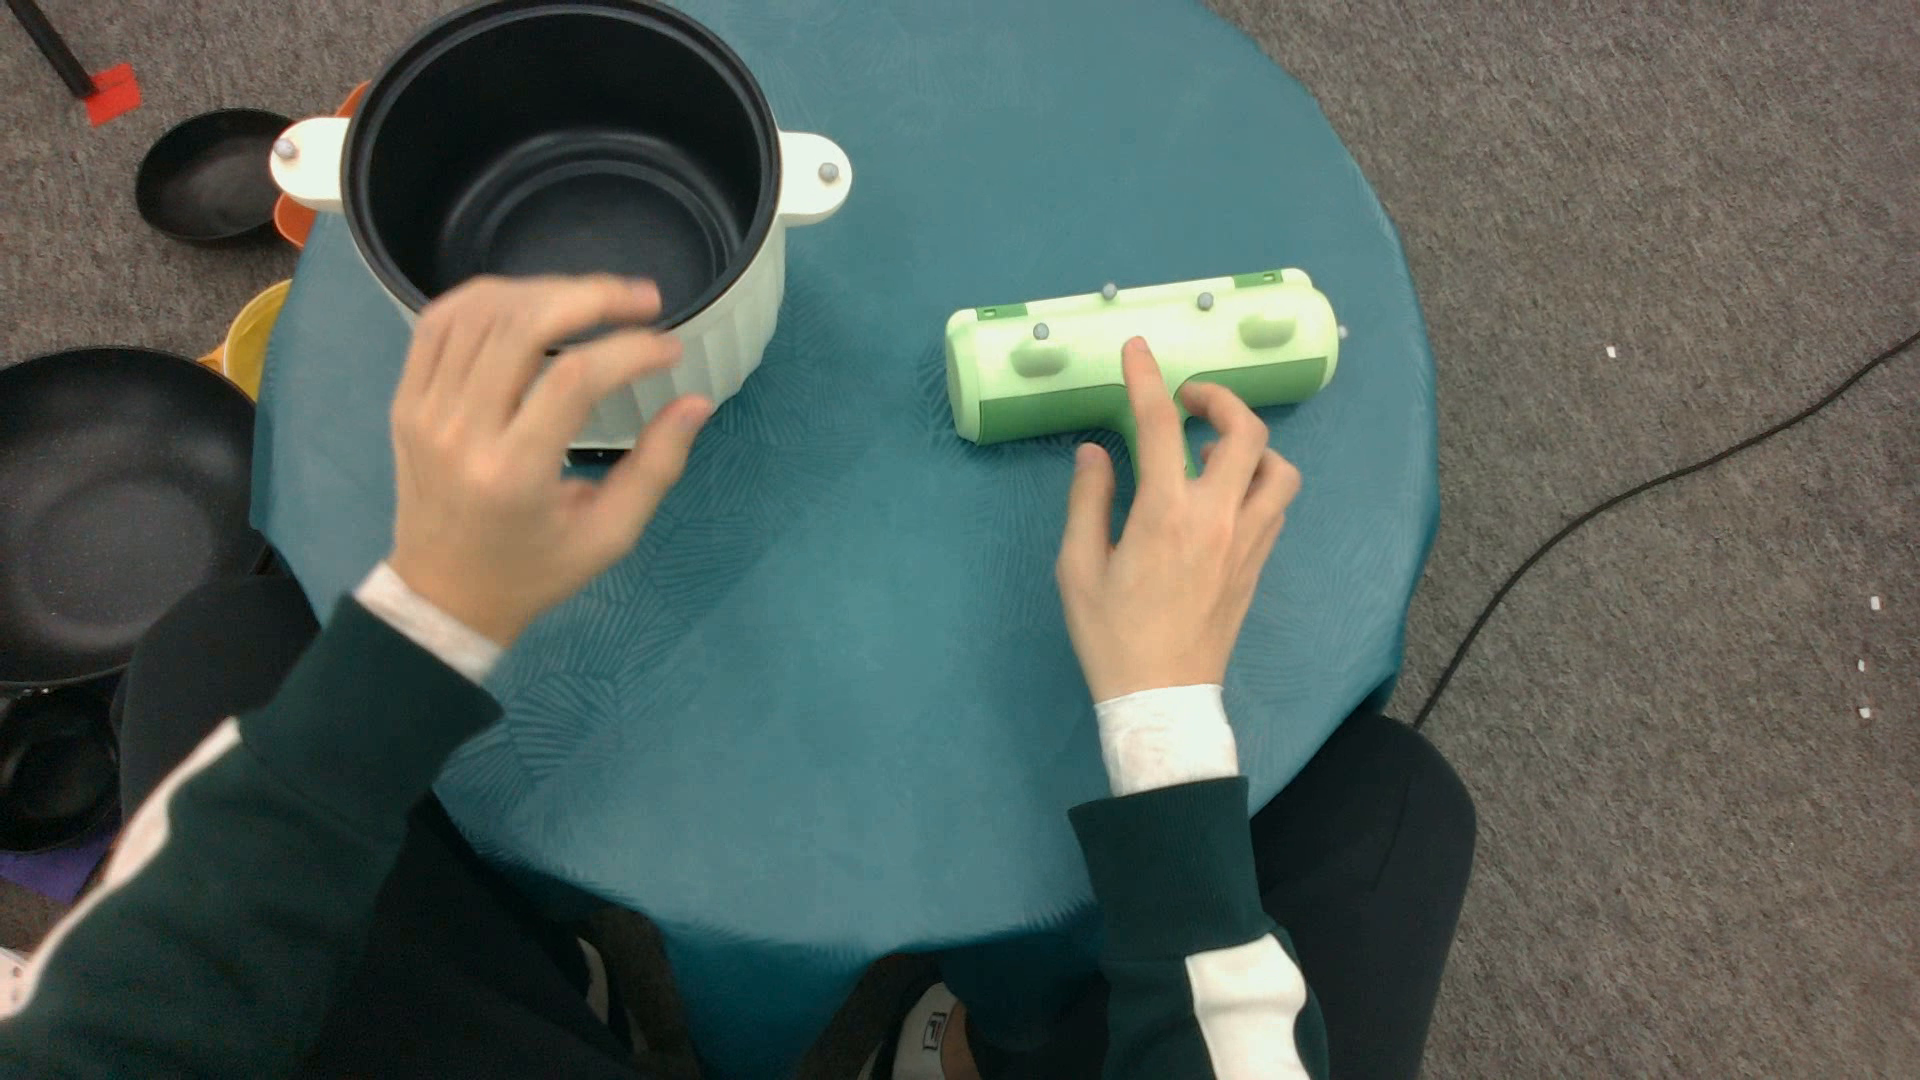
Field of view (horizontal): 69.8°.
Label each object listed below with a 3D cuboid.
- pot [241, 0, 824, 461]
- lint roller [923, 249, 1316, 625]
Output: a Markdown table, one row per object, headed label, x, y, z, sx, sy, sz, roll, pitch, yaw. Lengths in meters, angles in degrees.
| label | x | y | z | sx | sy | sz | roll | pitch | yaw |
| --- | --- | --- | --- | --- | --- | --- | --- | --- | --- |
| pot | -0.186 | -0.146 | 0.643 | 0.240 | 0.142 | 0.191 | -2 | 75 | -8 |
| lint roller | 0.093 | -0.055 | 0.672 | 0.199 | 0.082 | 0.184 | -9 | 67 | -9 |
